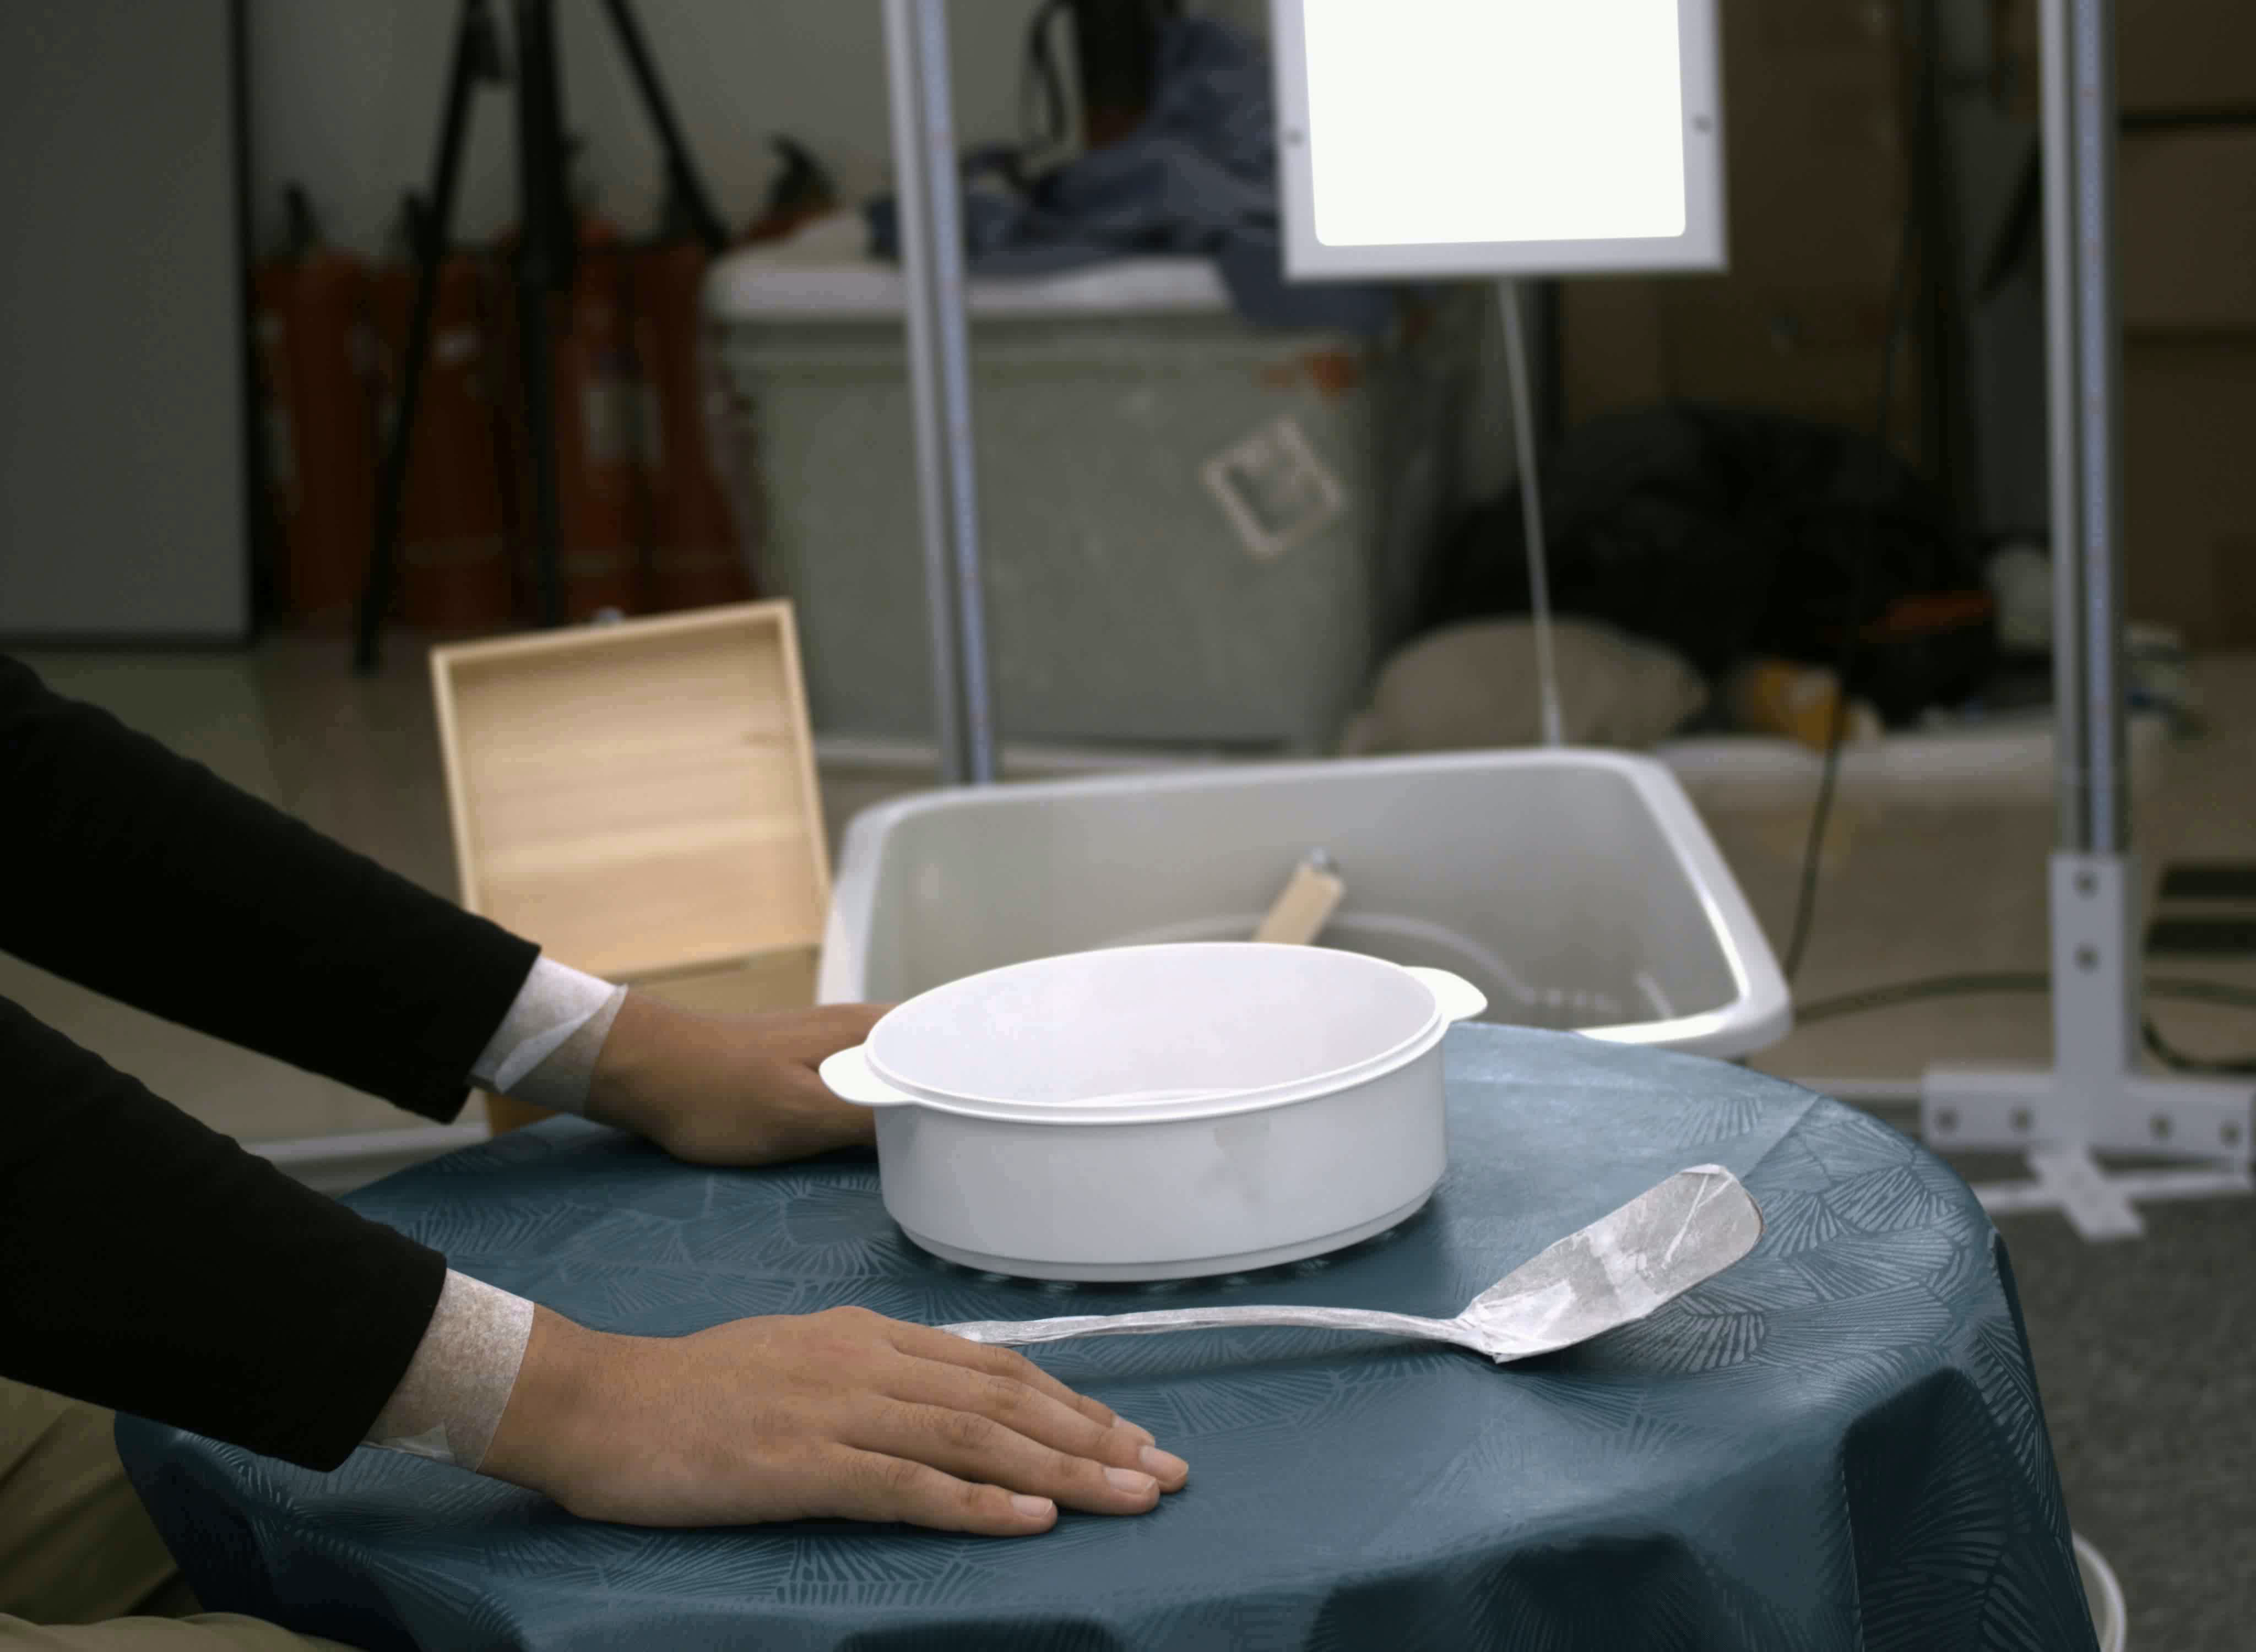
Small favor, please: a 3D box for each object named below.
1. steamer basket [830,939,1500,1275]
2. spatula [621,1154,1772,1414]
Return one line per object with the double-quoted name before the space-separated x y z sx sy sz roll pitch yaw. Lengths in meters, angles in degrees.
"steamer basket" 0.016 0.096 1.871 0.228 0.069 0.203 -9 13 -11
"spatula" 0.020 0.150 1.717 0.364 0.045 0.098 -5 16 1
